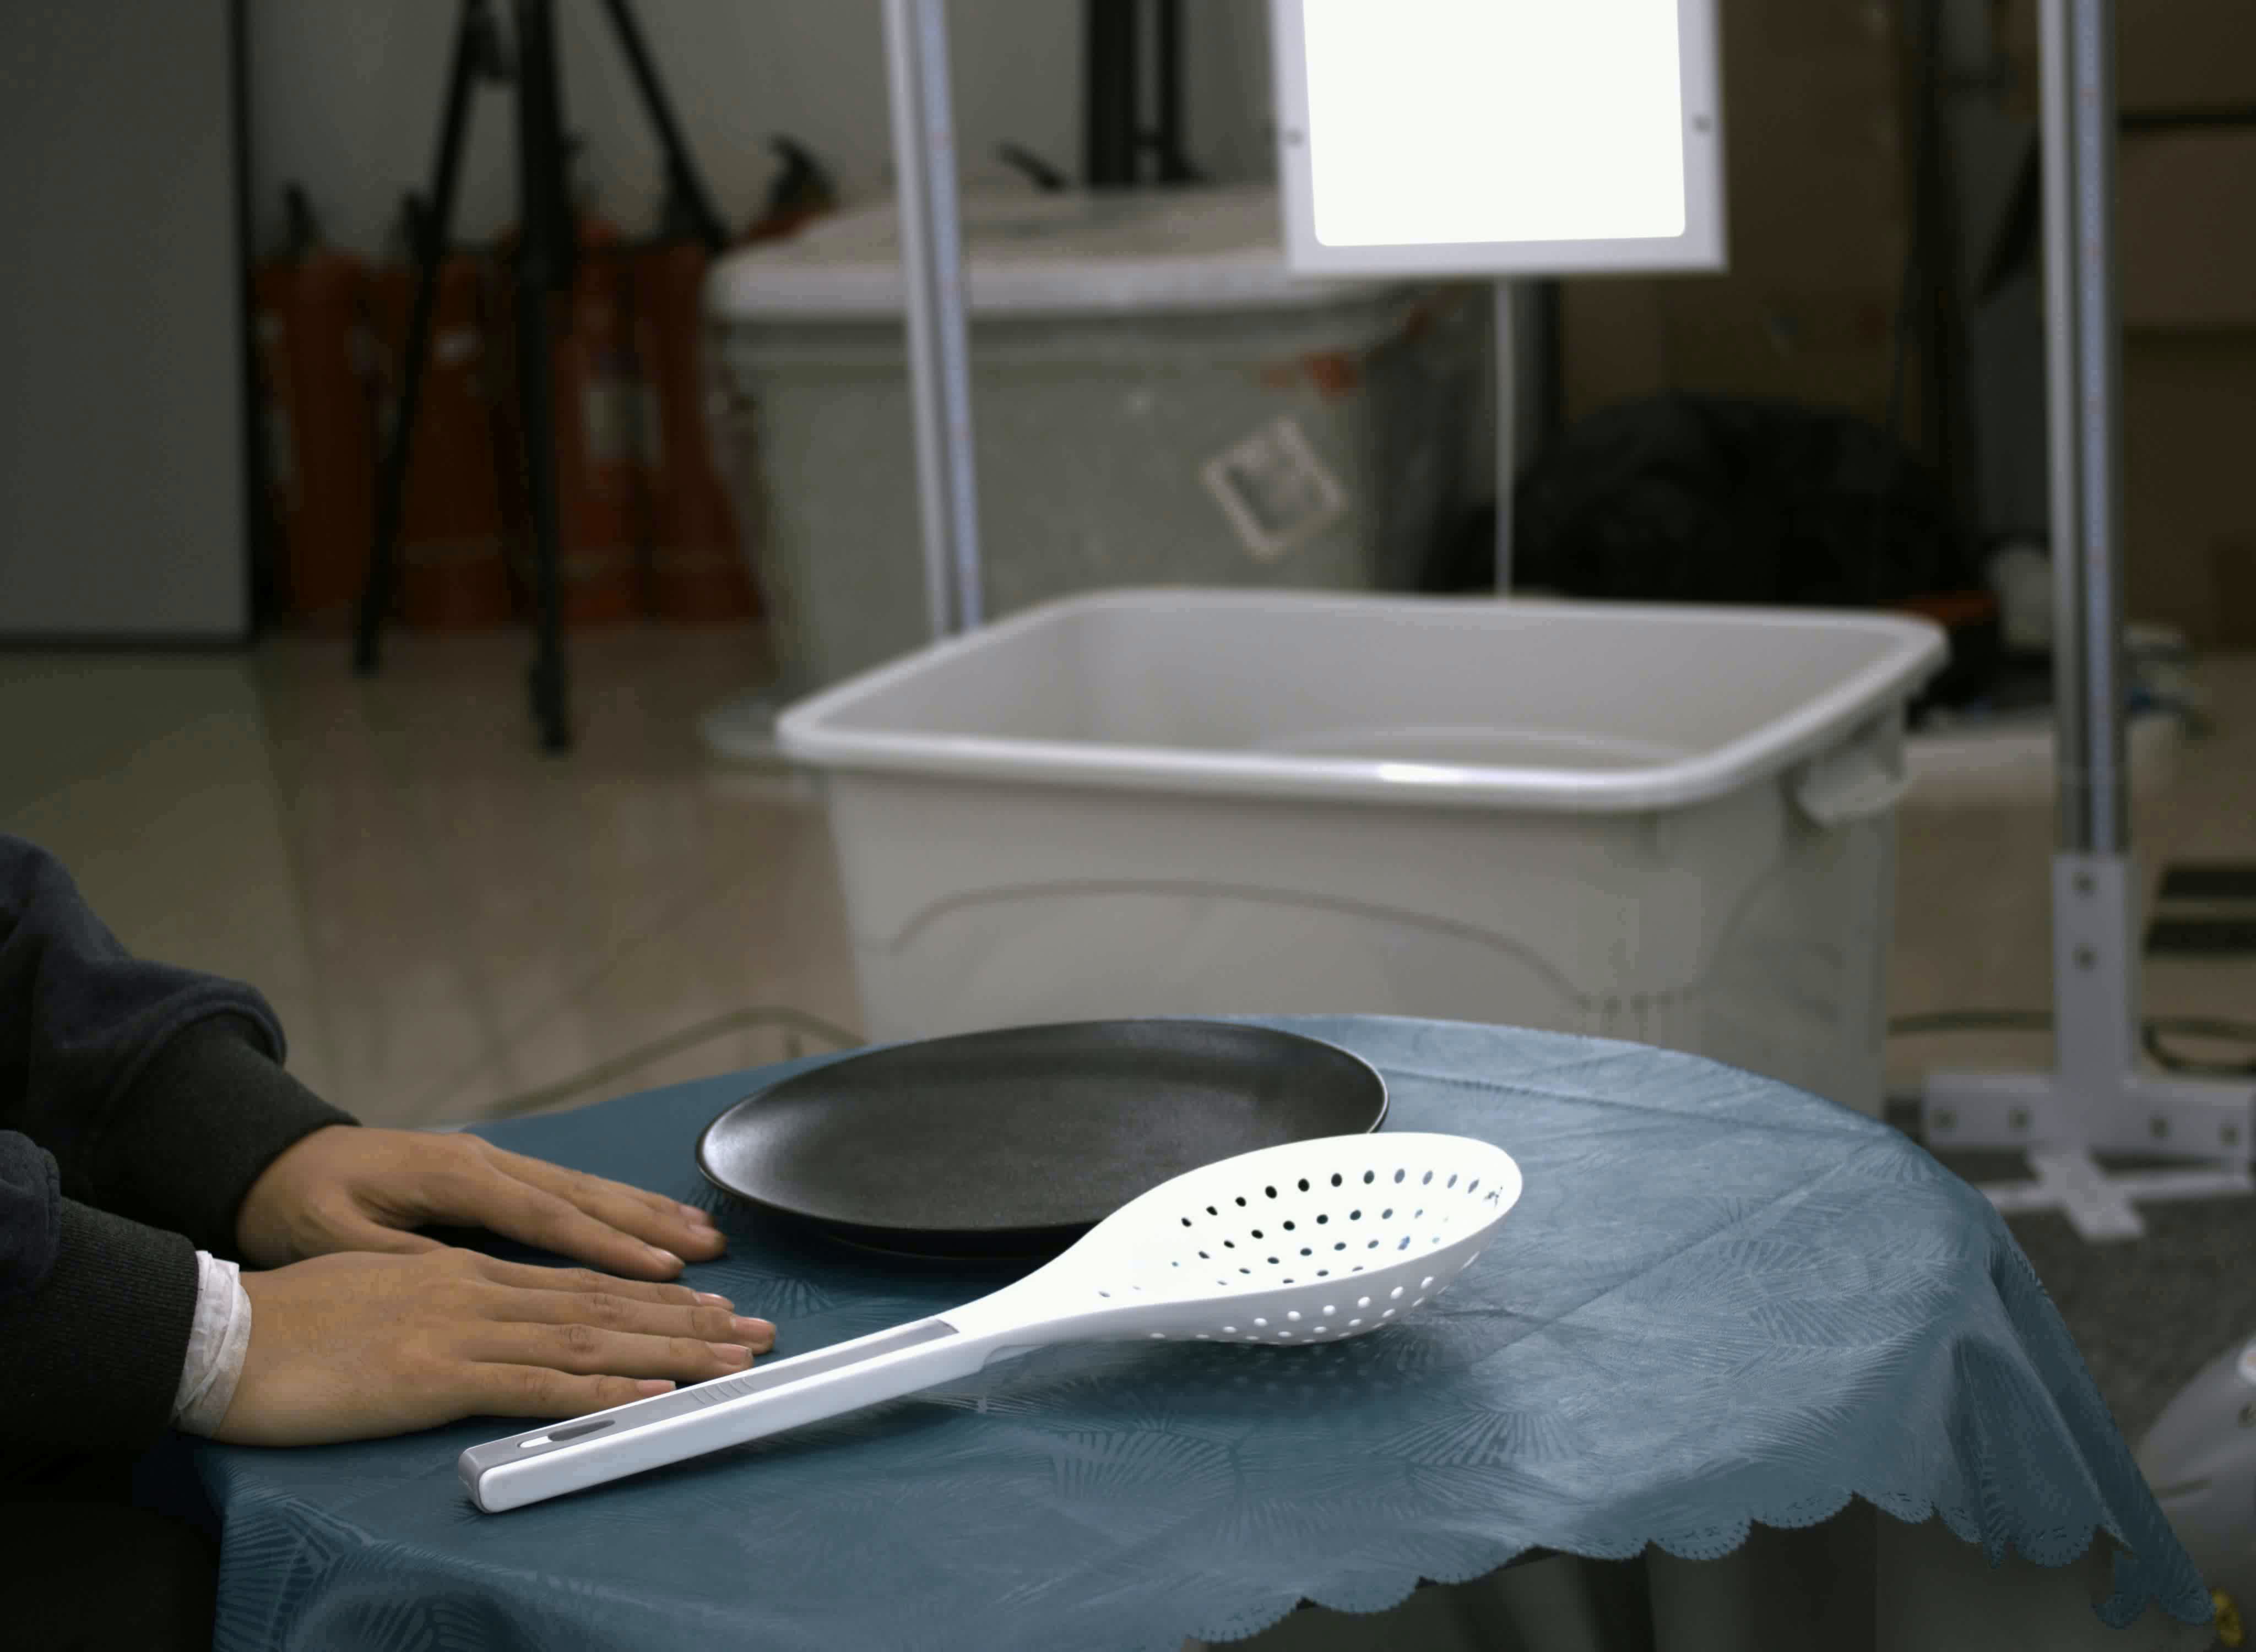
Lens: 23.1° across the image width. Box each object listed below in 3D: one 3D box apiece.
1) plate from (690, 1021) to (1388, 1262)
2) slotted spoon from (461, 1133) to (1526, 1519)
[{"bbox_3d":[-0.030,0.112,1.918,0.244,0.023,0.244,-5,14,0],"label":"plate"},{"bbox_3d":[-0.038,0.154,1.701,0.343,0.046,0.138,-11,13,-19],"label":"slotted spoon"}]
